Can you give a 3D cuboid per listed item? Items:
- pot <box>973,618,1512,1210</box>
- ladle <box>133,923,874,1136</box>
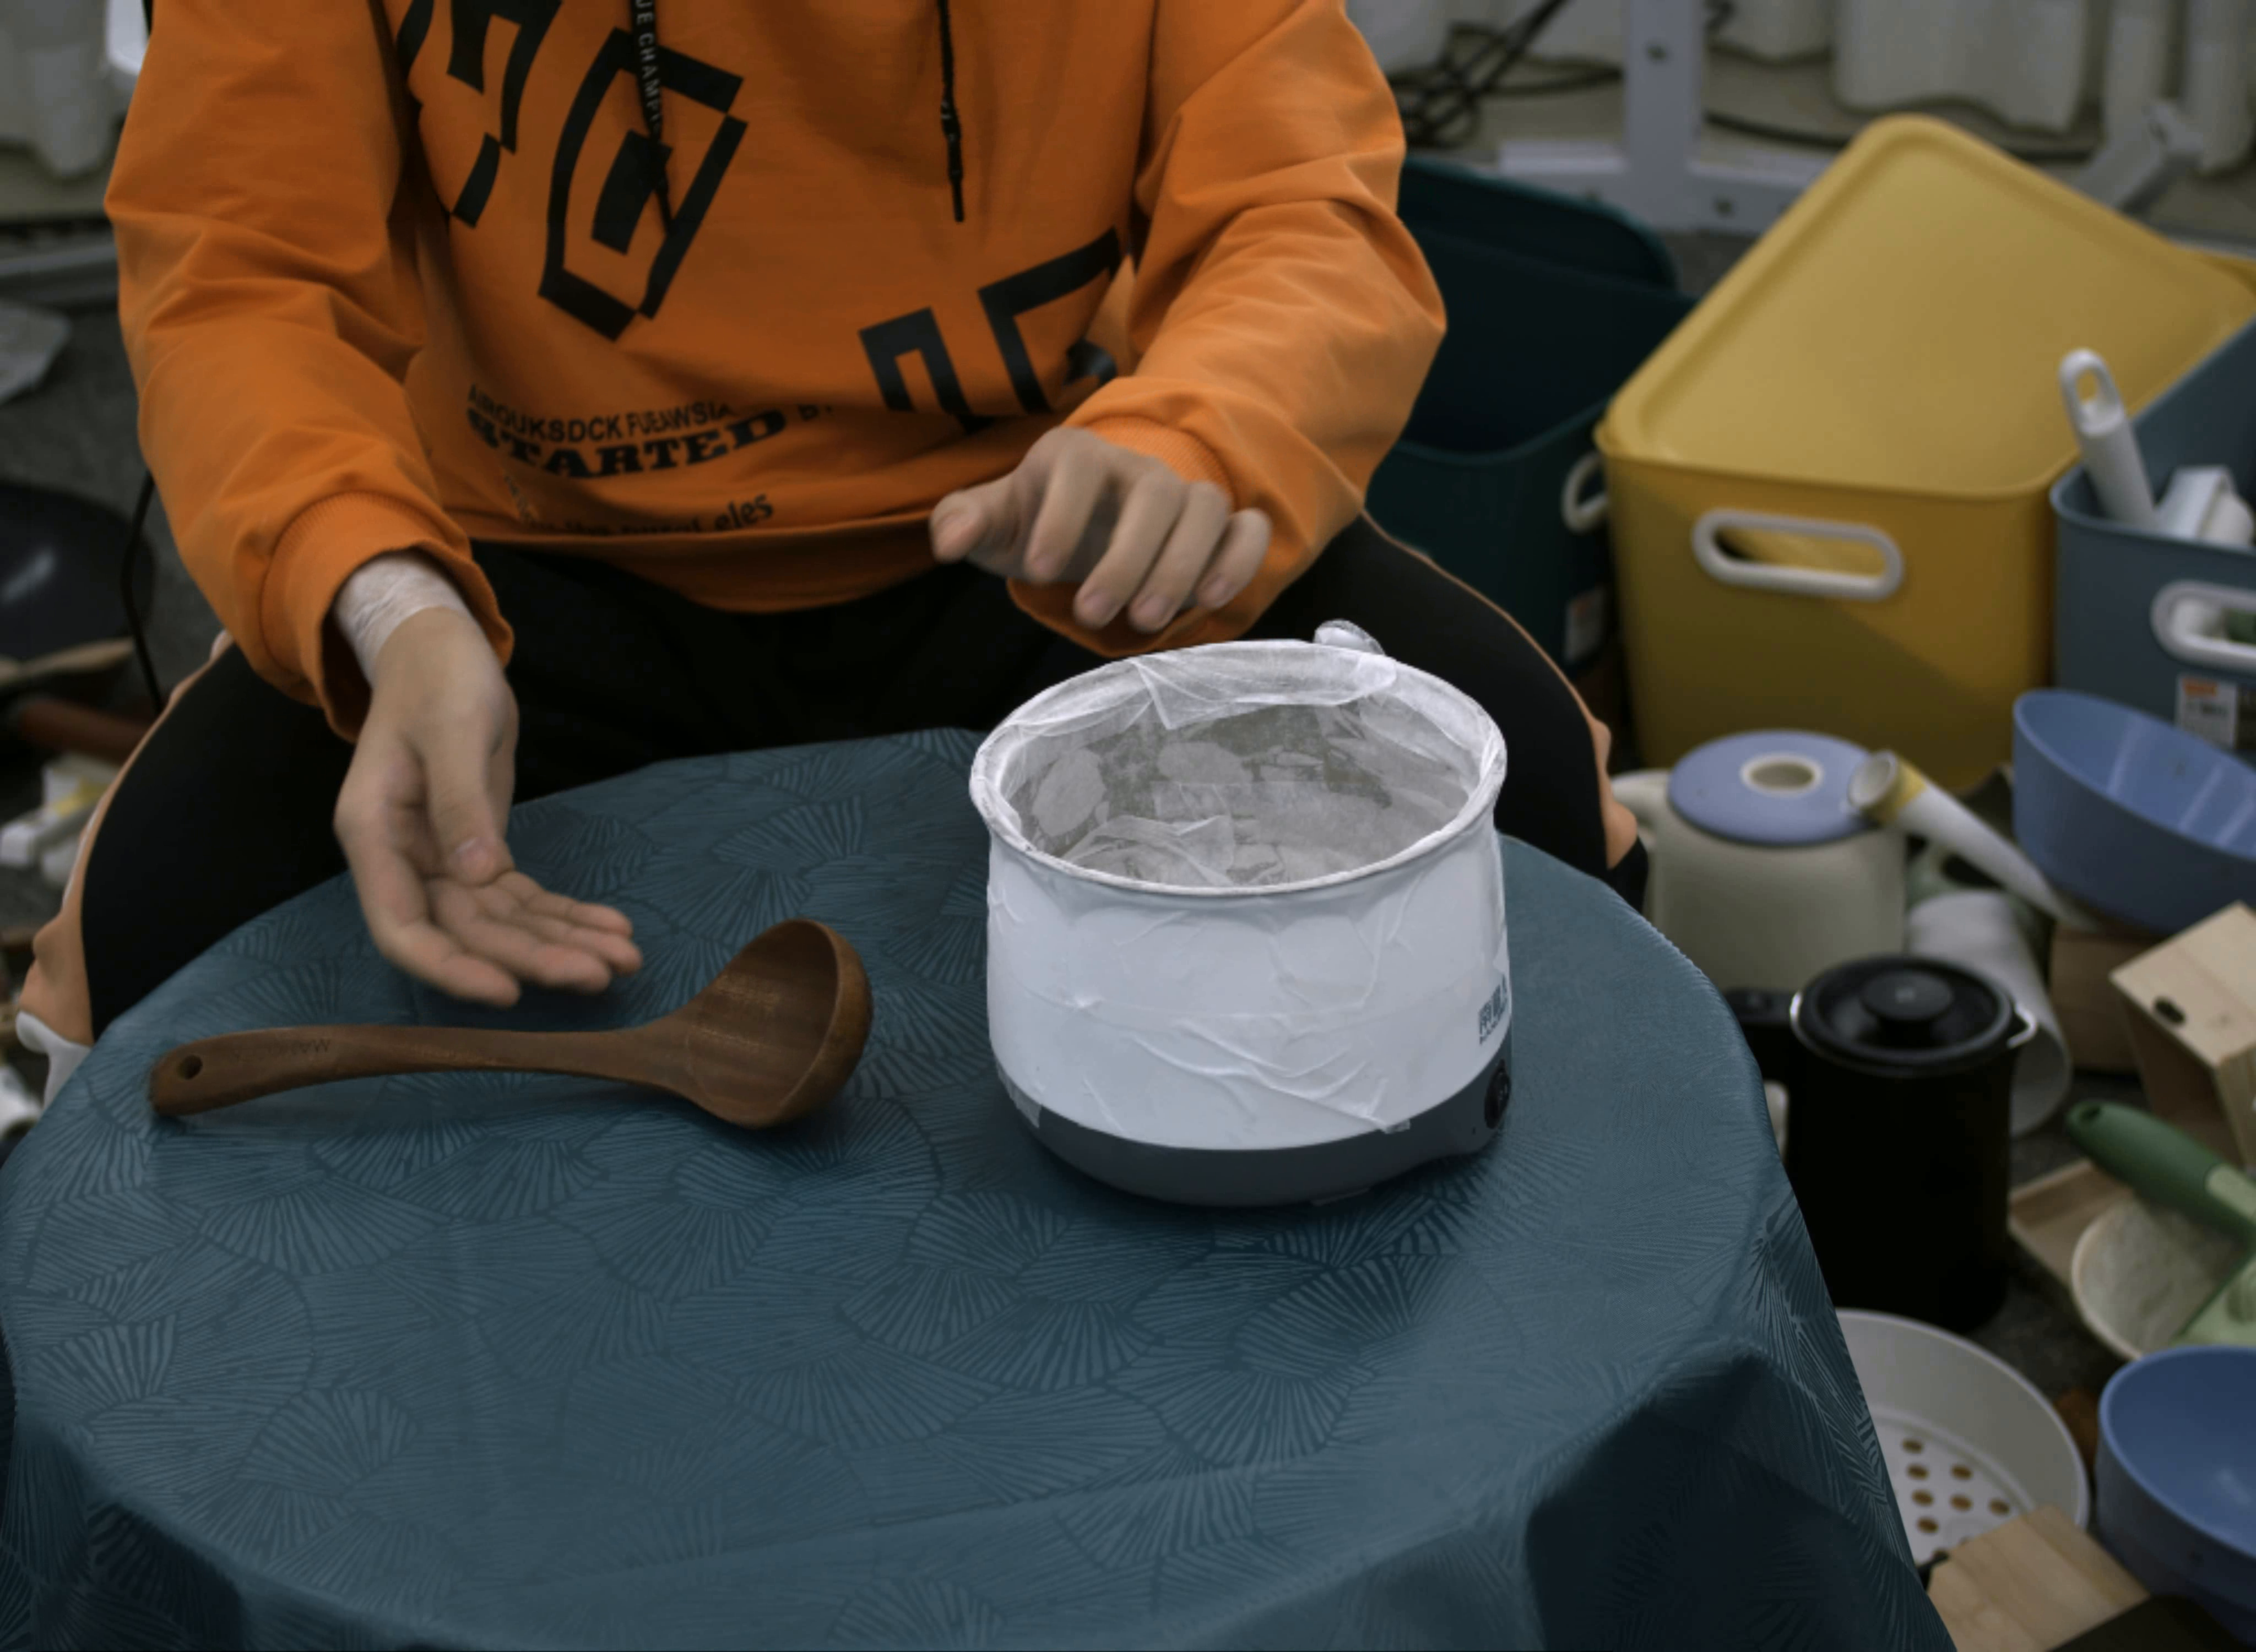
[{"bbox_3d":[0.049,0.022,1.902,0.177,0.135,0.238,7,29,18],"label":"pot"},{"bbox_3d":[-0.214,0.073,1.912,0.259,0.064,0.078,-1,52,2],"label":"ladle"}]
